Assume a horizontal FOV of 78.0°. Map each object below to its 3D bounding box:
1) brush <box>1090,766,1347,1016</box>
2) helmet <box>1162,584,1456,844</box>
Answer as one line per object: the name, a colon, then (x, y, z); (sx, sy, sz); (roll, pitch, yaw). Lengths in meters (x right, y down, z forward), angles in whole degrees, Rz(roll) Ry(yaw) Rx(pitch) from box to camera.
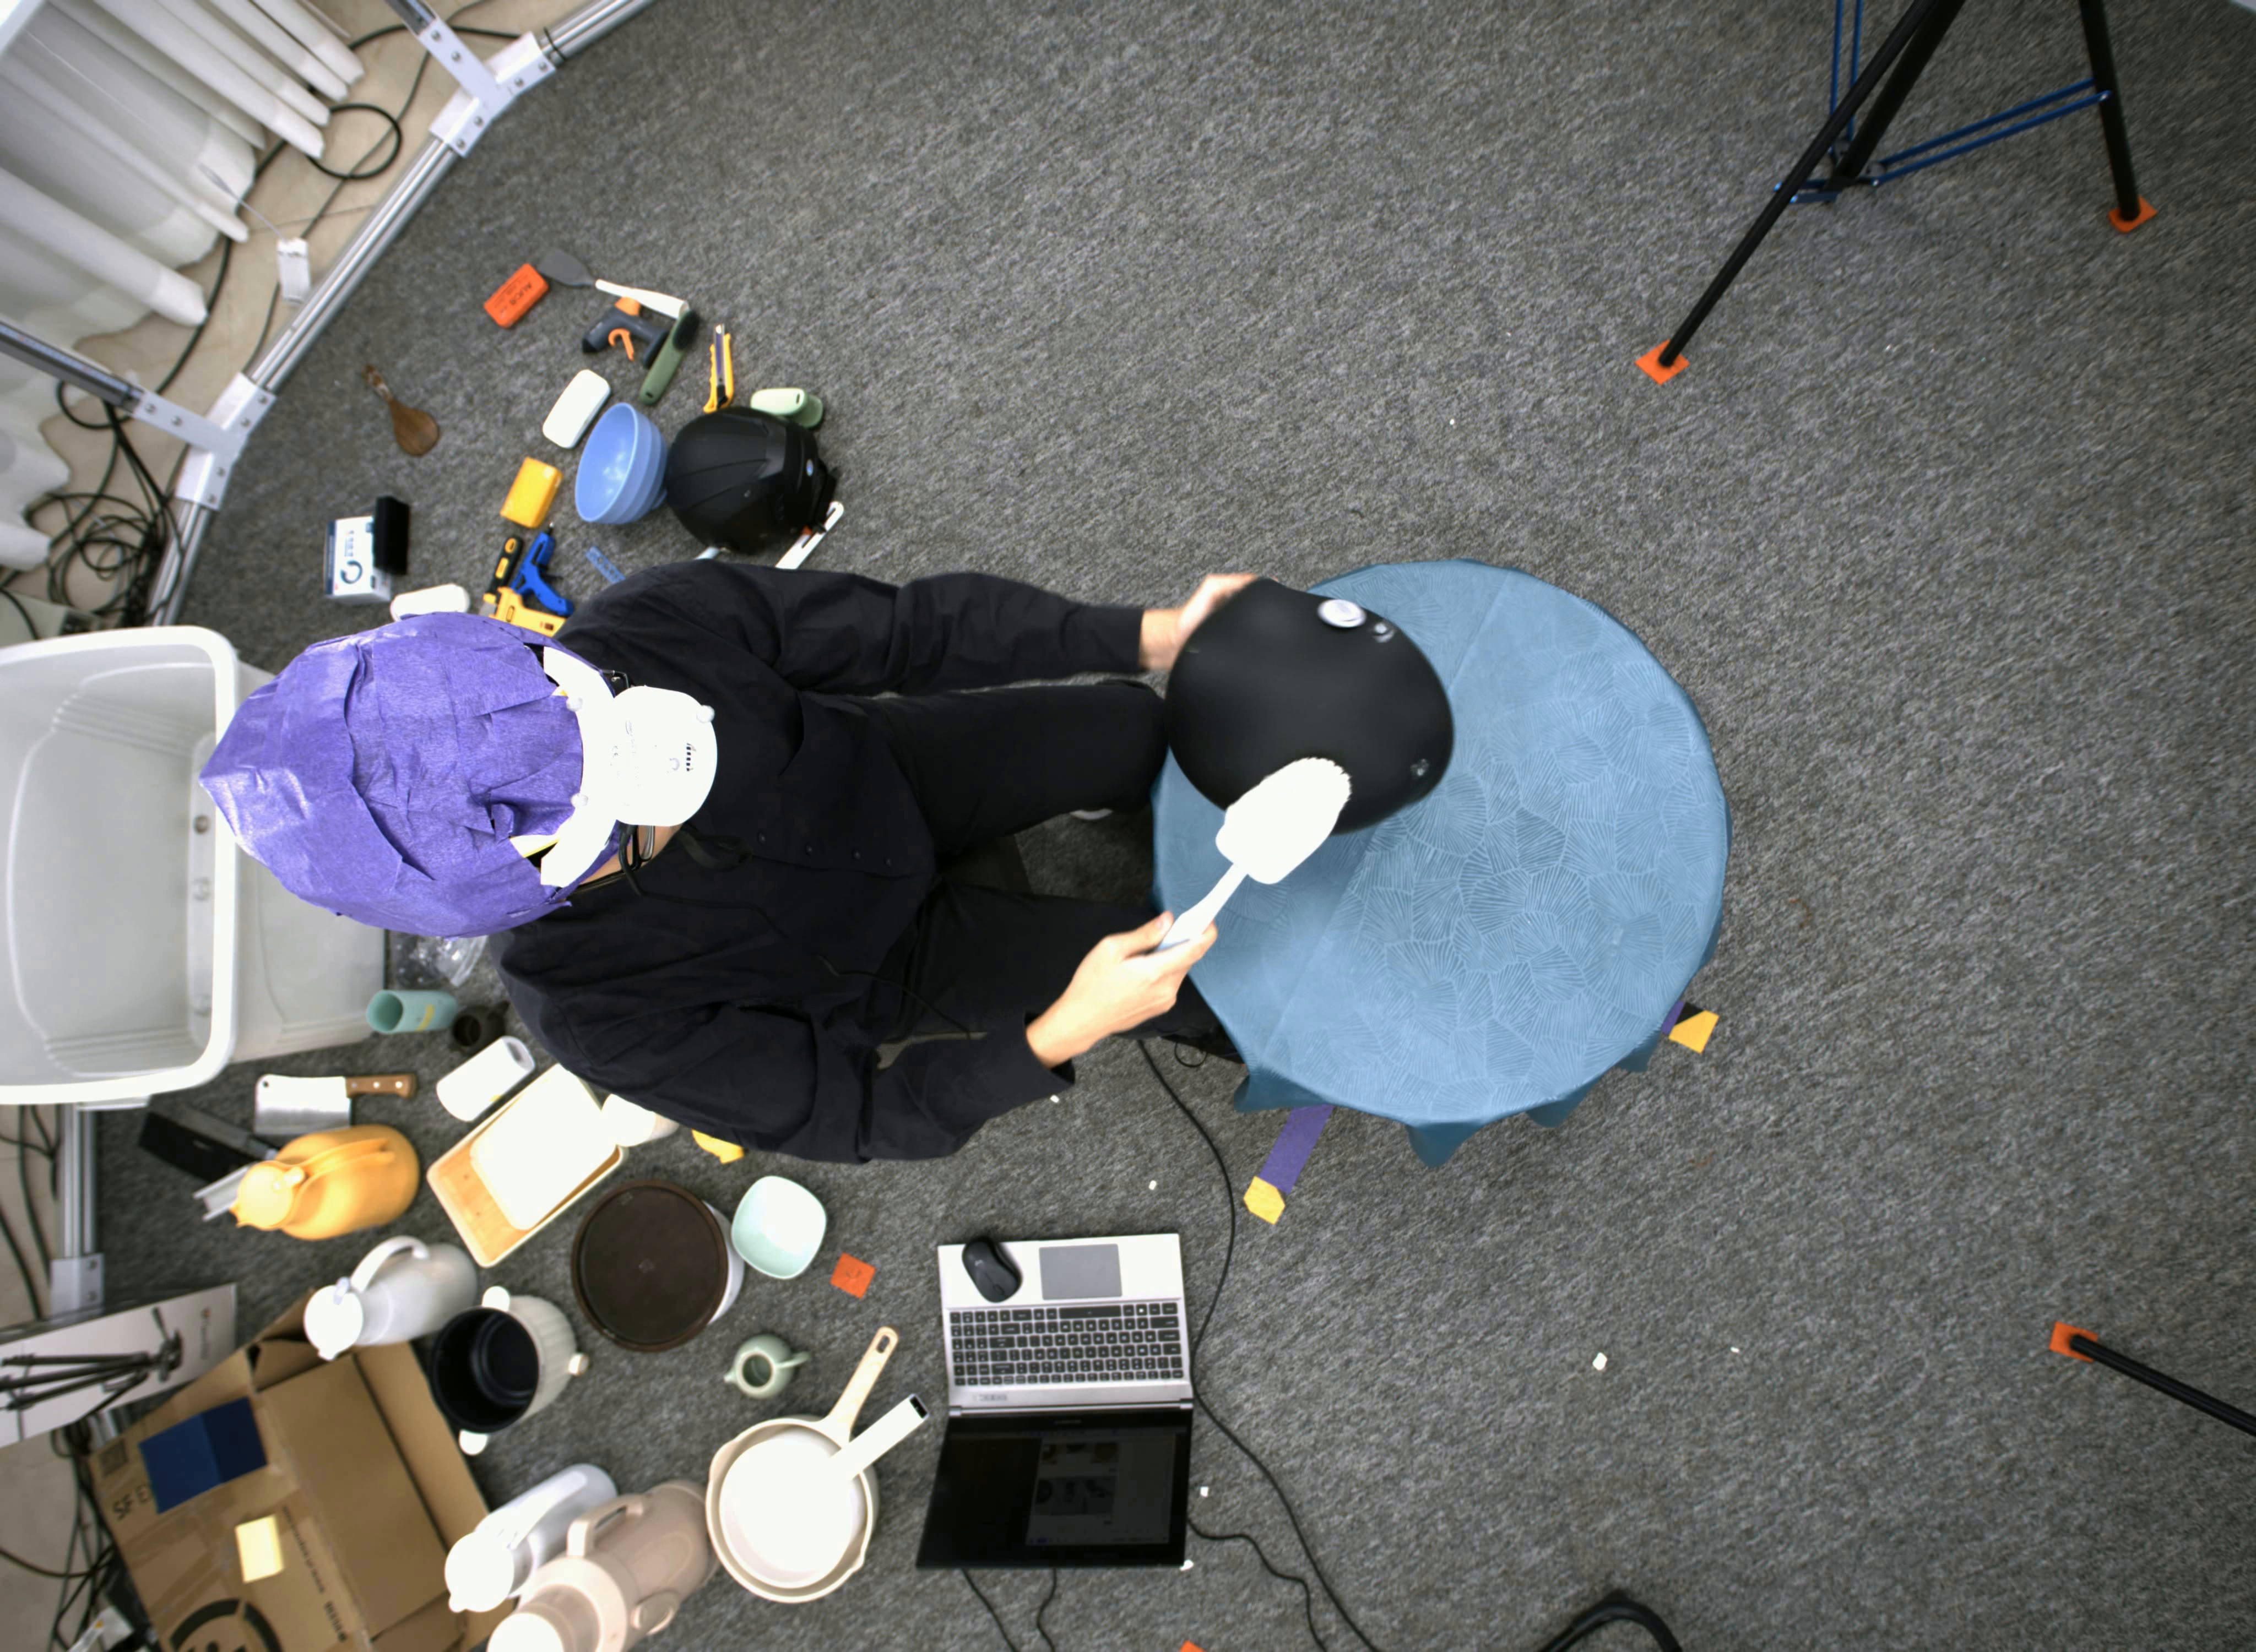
brush: (0.072, 0.053, 1.215); (0.332, 0.084, 0.082); (-46, 60, 33)
helmet: (0.138, -0.087, 1.232); (0.271, 0.163, 0.235); (28, 136, 35)
